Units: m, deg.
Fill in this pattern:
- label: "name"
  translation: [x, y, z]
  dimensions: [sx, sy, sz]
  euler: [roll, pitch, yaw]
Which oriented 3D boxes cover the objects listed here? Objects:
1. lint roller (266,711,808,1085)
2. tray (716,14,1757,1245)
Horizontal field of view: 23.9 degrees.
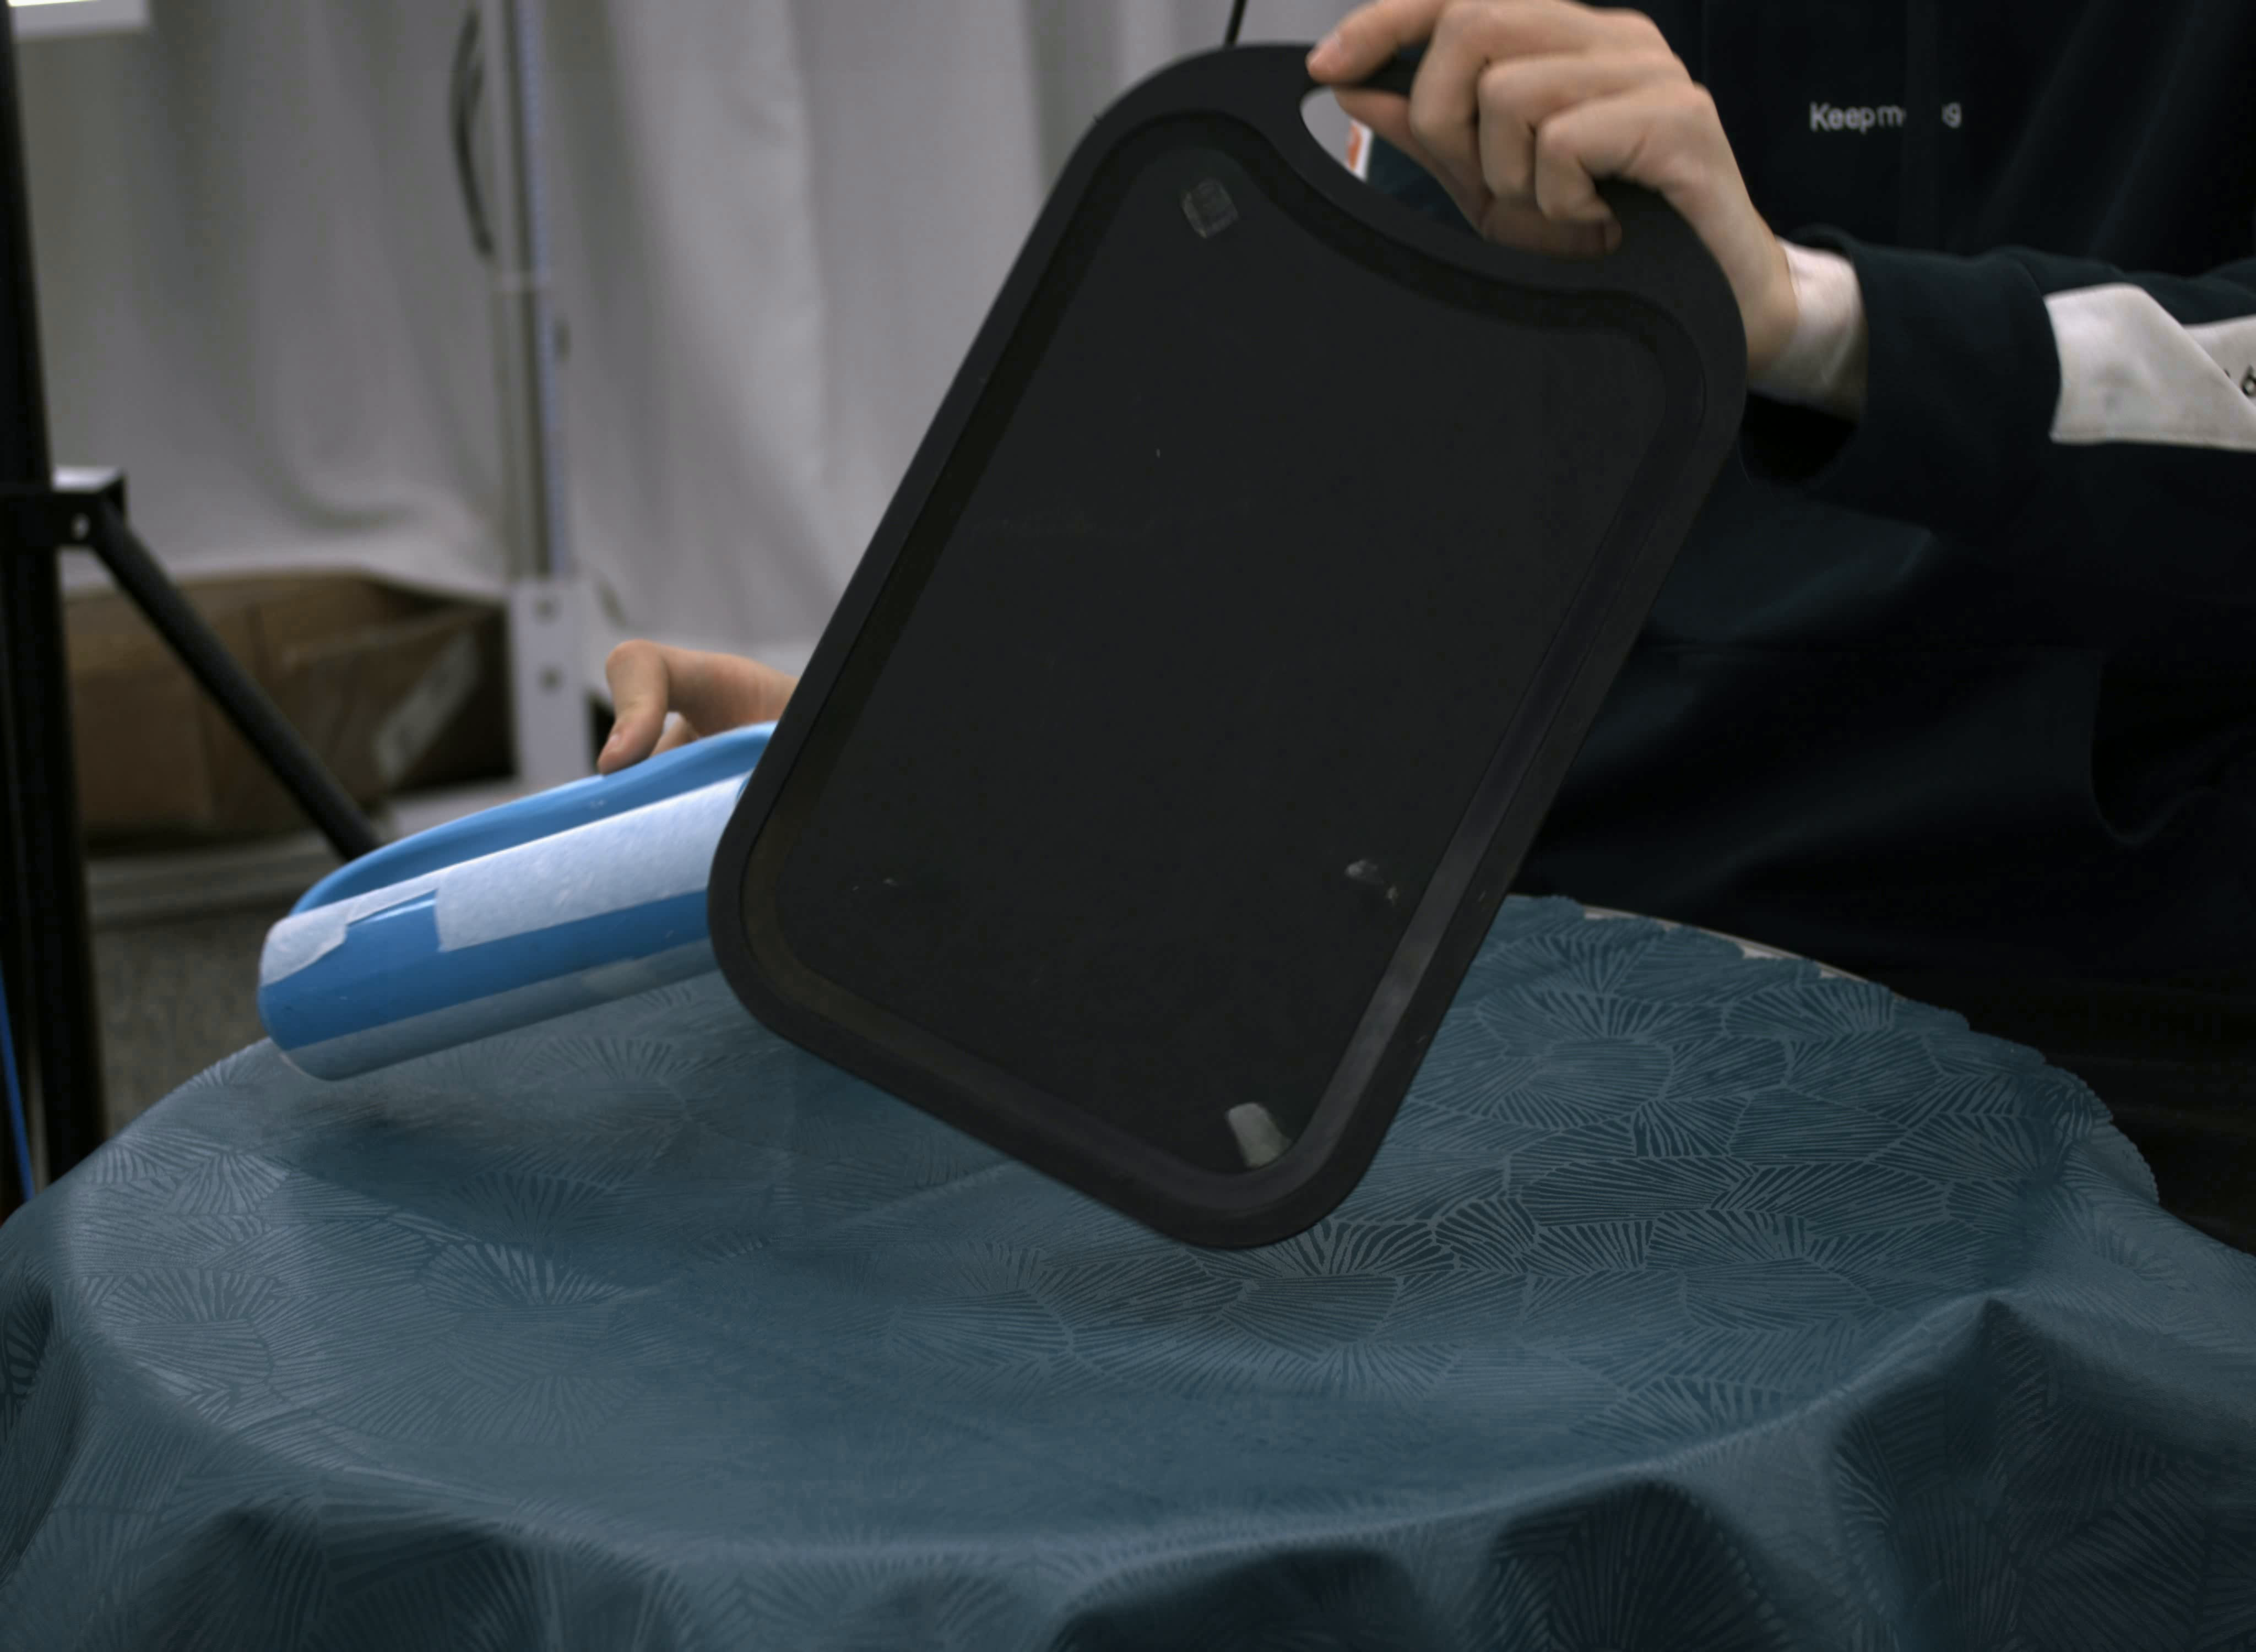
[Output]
- label: "lint roller"
  translation: [-0.147, 0.012, 1.658]
  dimensions: [0.232, 0.068, 0.177]
  euler: [-21, 6, 31]
- label: "tray"
  translation: [0.030, -0.063, 1.456]
  dimensions: [0.214, 0.326, 0.009]
  euler: [26, -1, 19]
